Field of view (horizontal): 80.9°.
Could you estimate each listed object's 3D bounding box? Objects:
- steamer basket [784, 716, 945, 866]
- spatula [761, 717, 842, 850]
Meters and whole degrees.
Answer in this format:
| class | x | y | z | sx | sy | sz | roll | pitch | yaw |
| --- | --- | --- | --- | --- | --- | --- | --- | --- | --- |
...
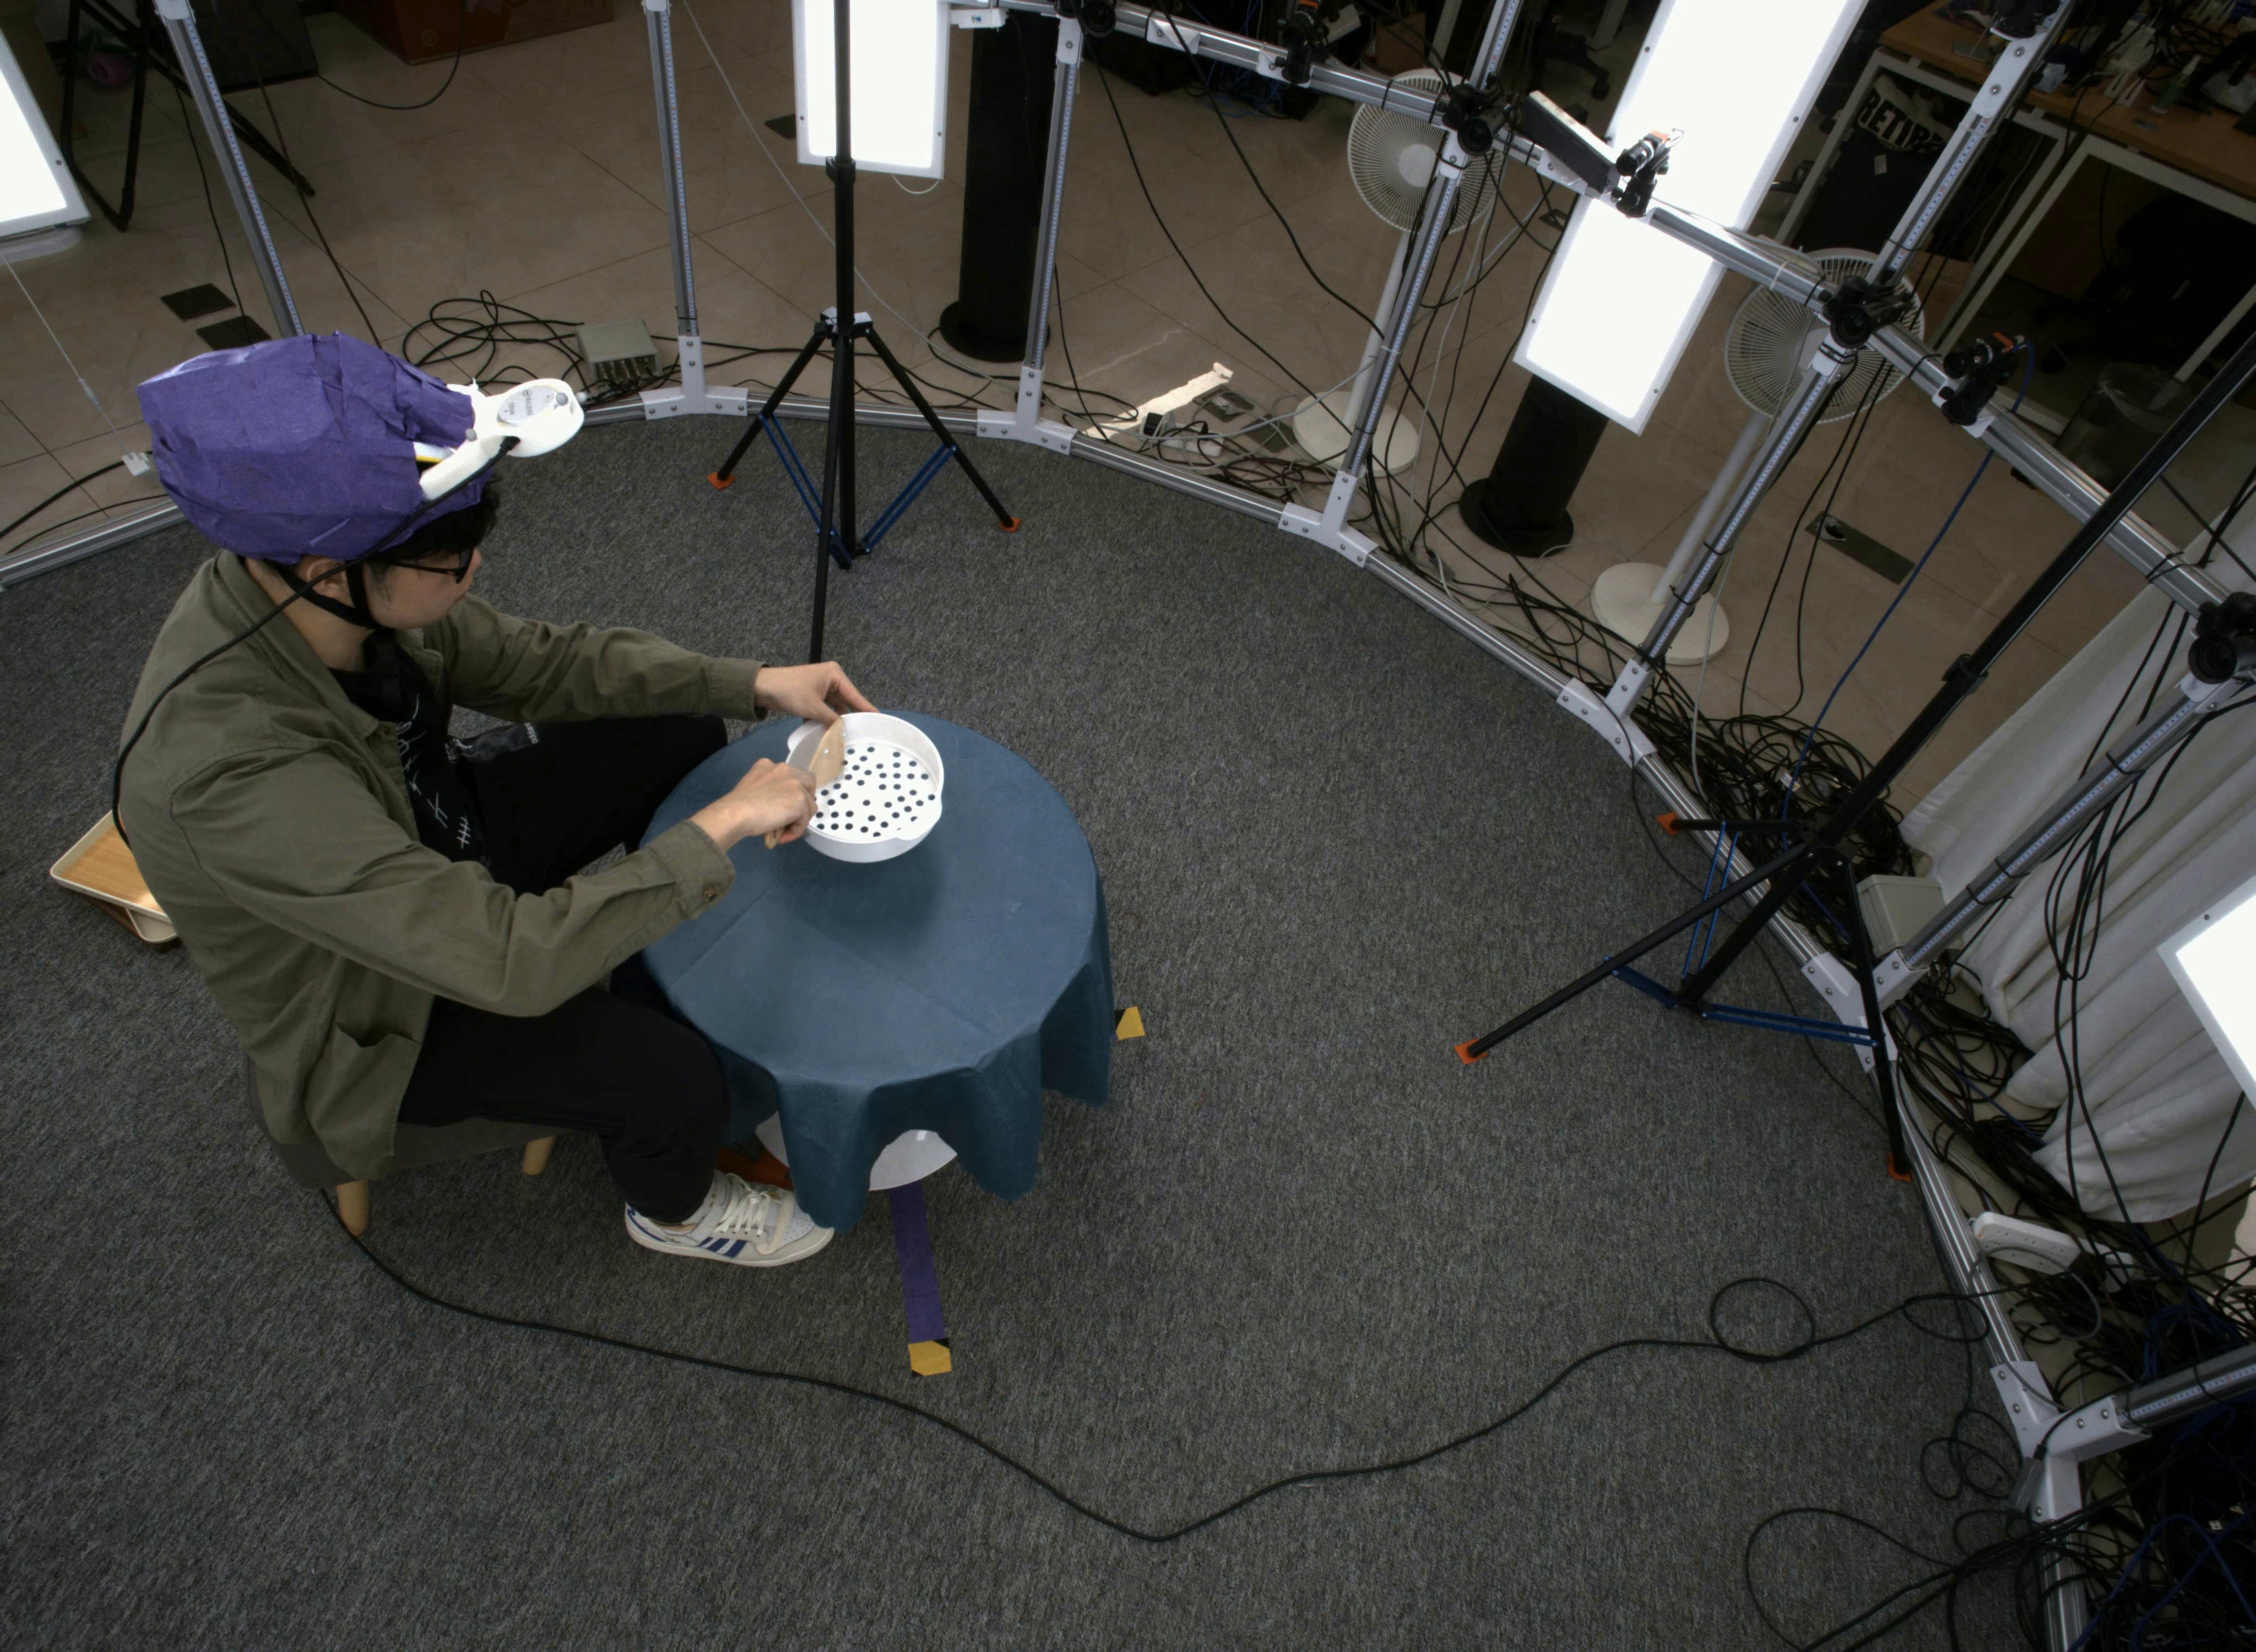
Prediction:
| class | x | y | z | sx | sy | sz | roll | pitch | yaw |
| --- | --- | --- | --- | --- | --- | --- | --- | --- | --- |
| steamer basket | -0.333 | -0.043 | 1.657 | 0.225 | 0.071 | 0.202 | 37 | 60 | 16 |
| spatula | -0.380 | -0.047 | 1.525 | 0.016 | 0.082 | 0.322 | 6 | 23 | -1 |
